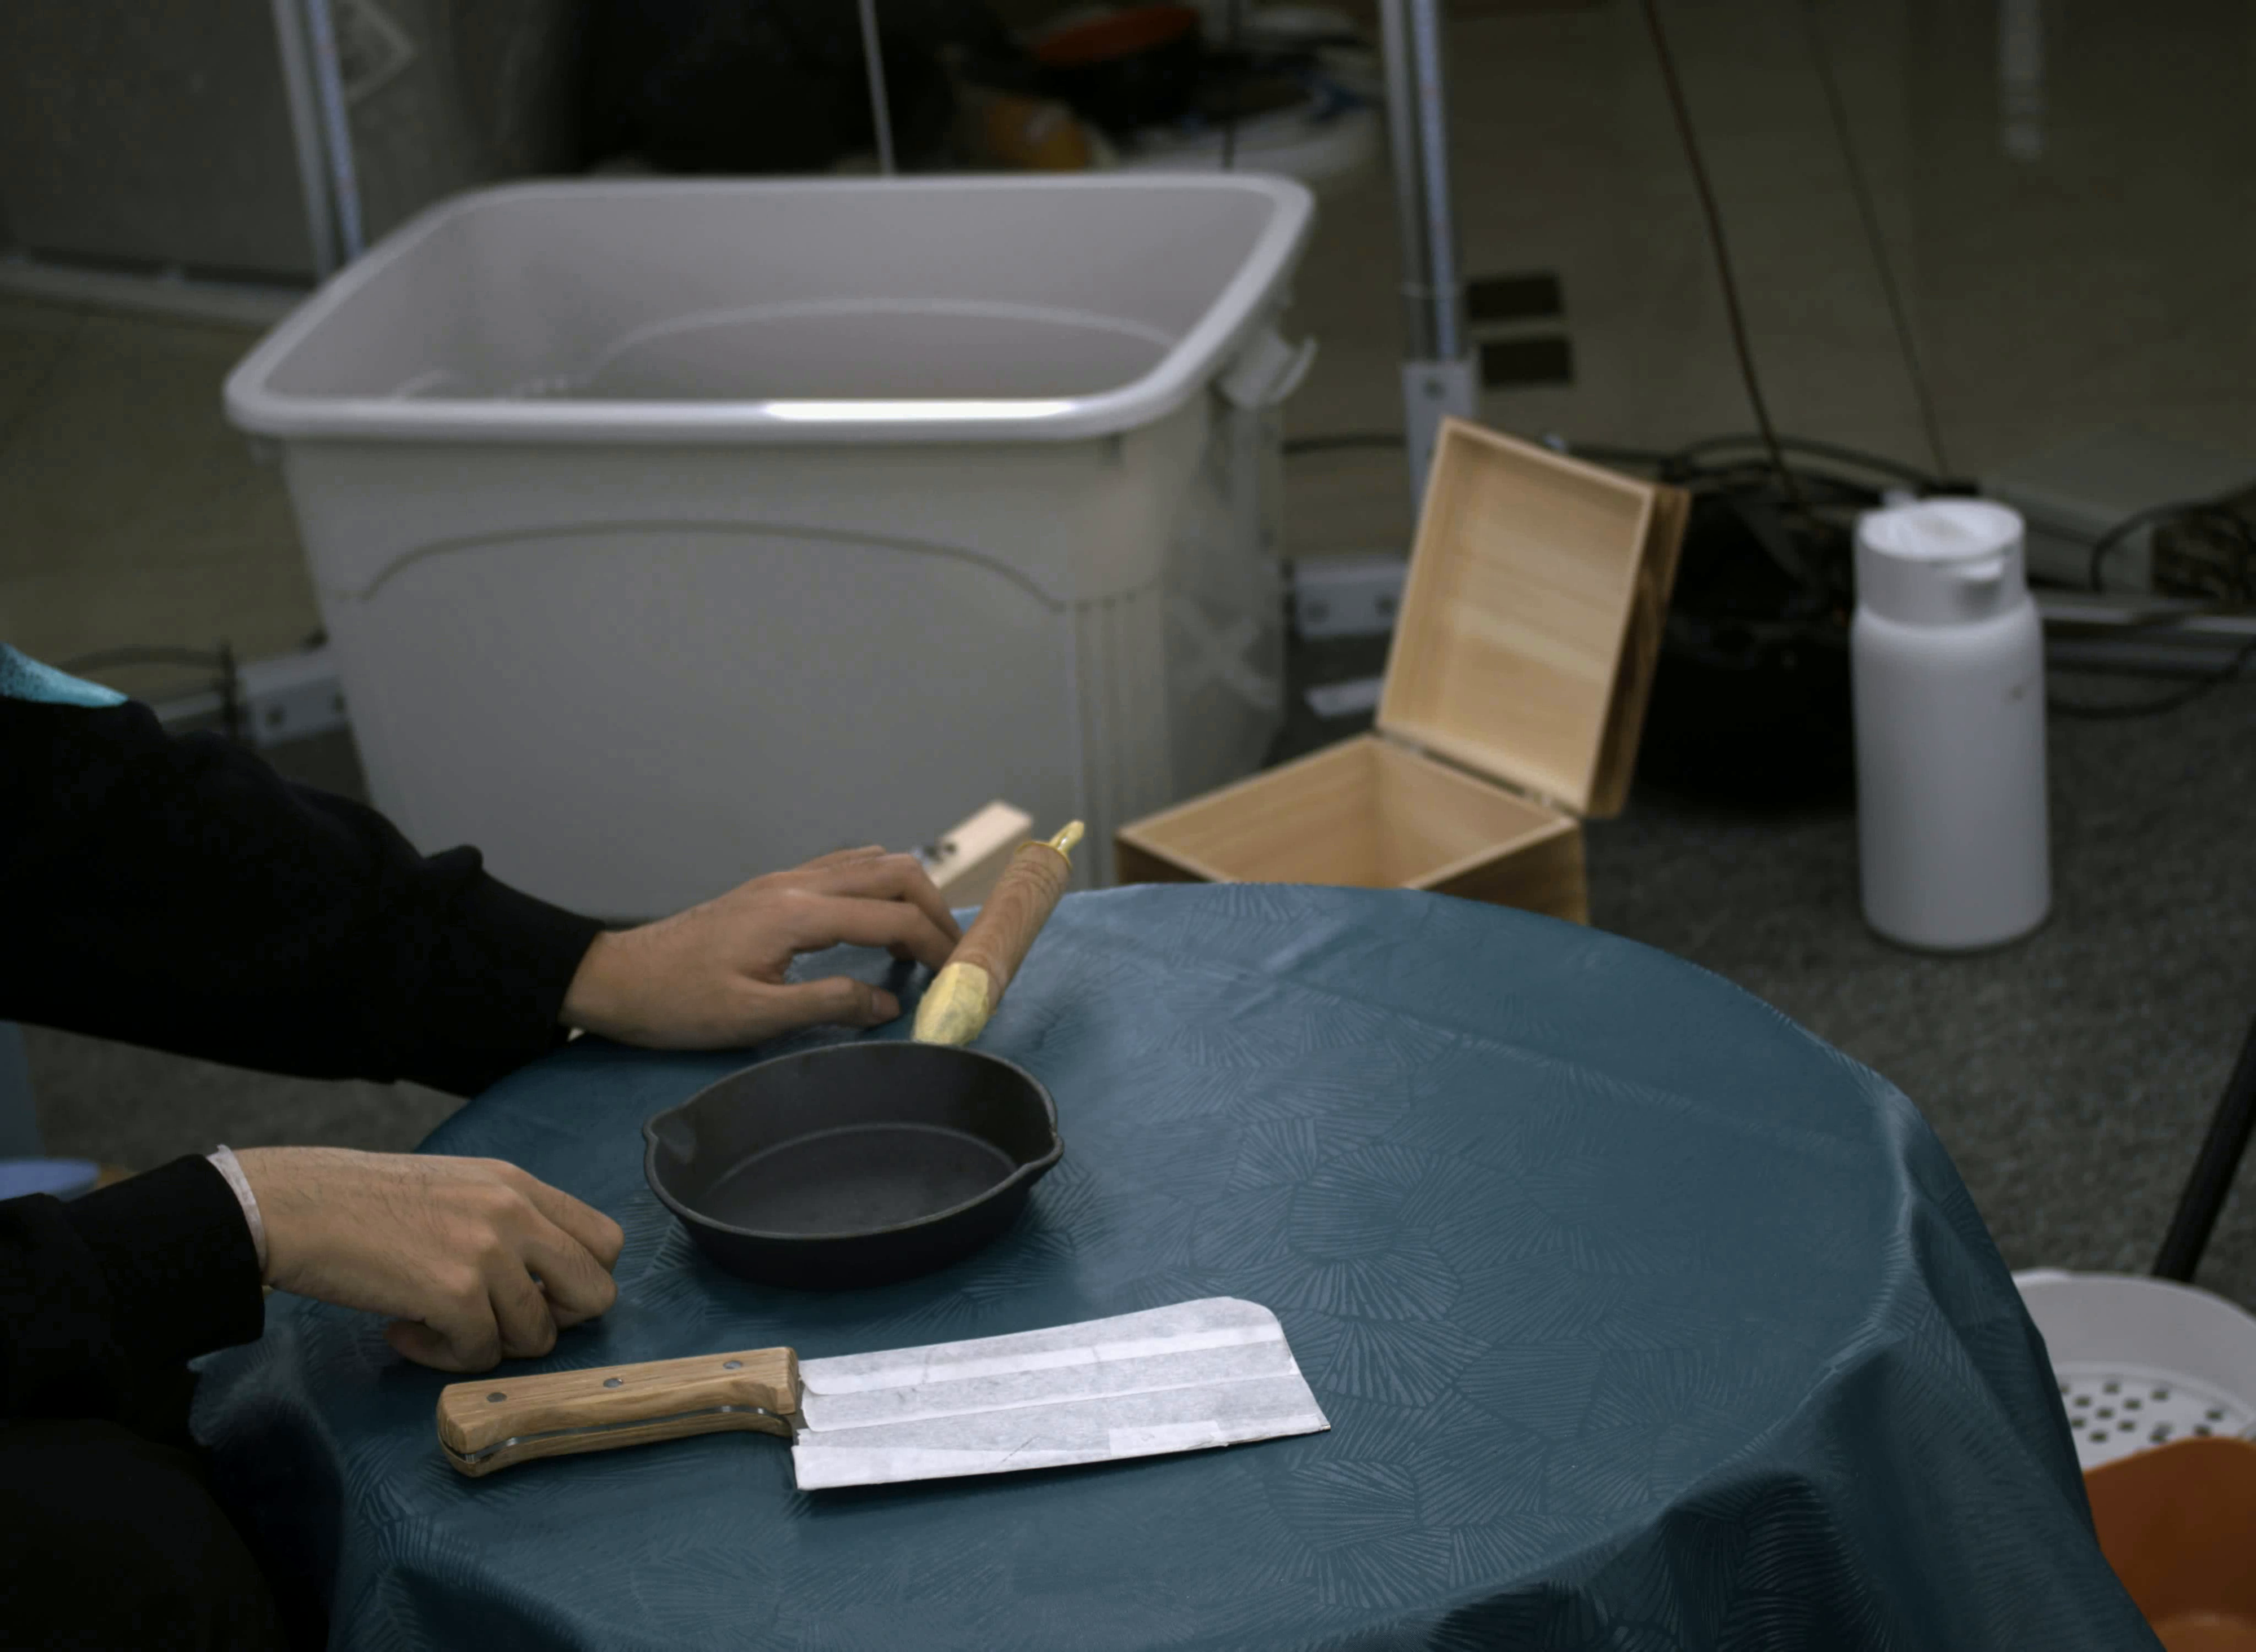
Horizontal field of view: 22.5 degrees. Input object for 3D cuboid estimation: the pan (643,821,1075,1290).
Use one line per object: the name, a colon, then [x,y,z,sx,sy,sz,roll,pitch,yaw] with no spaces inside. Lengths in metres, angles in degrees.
pan: [-0.076,0.088,2.215,0.168,0.050,0.319,3,28,21]

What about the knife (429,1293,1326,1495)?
knife: [-0.090,0.204,2.008,0.315,0.022,0.112,-5,25,-3]
